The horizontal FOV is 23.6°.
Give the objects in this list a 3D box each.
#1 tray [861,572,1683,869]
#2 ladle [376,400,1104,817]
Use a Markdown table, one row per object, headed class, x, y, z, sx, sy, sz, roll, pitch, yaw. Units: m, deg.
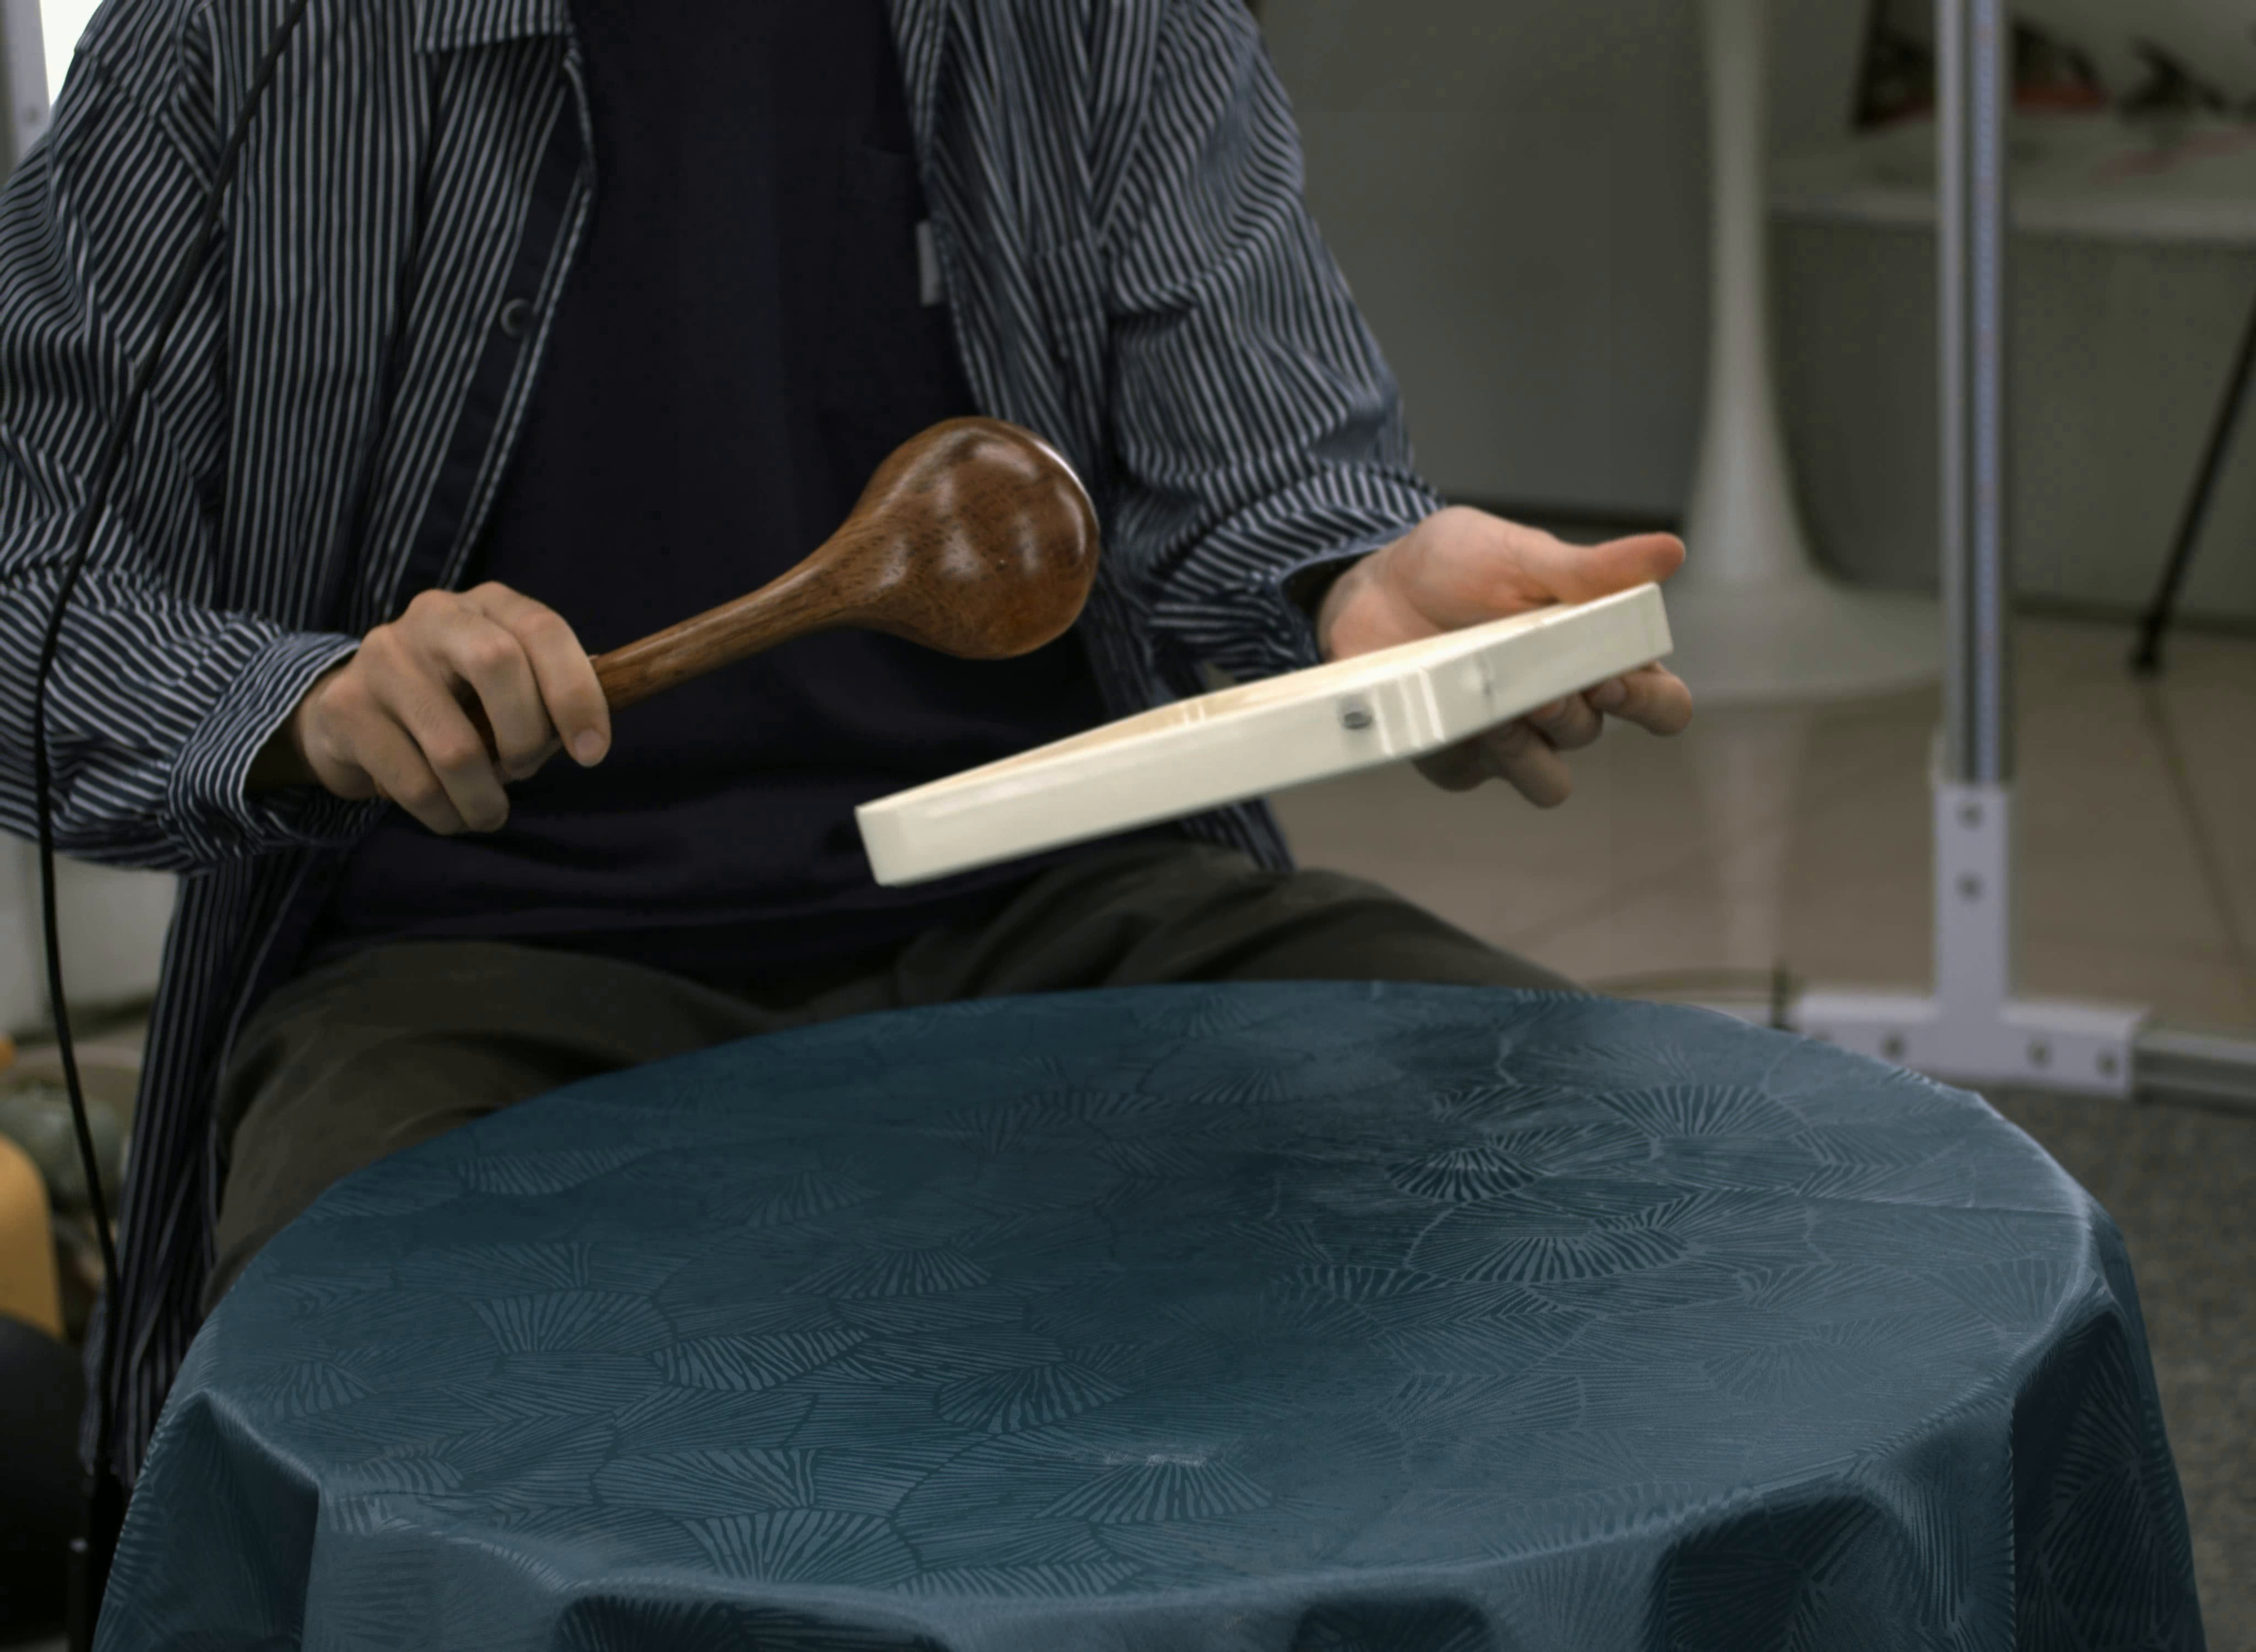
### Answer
| class | x | y | z | sx | sy | sz | roll | pitch | yaw |
| --- | --- | --- | --- | --- | --- | --- | --- | --- | --- |
| tray | 0.053 | -0.036 | 1.729 | 0.192 | 0.028 | 0.296 | -15 | 1 | 23 |
| ladle | -0.130 | -0.063 | 1.809 | 0.275 | 0.083 | 0.075 | -23 | -12 | 32 |
